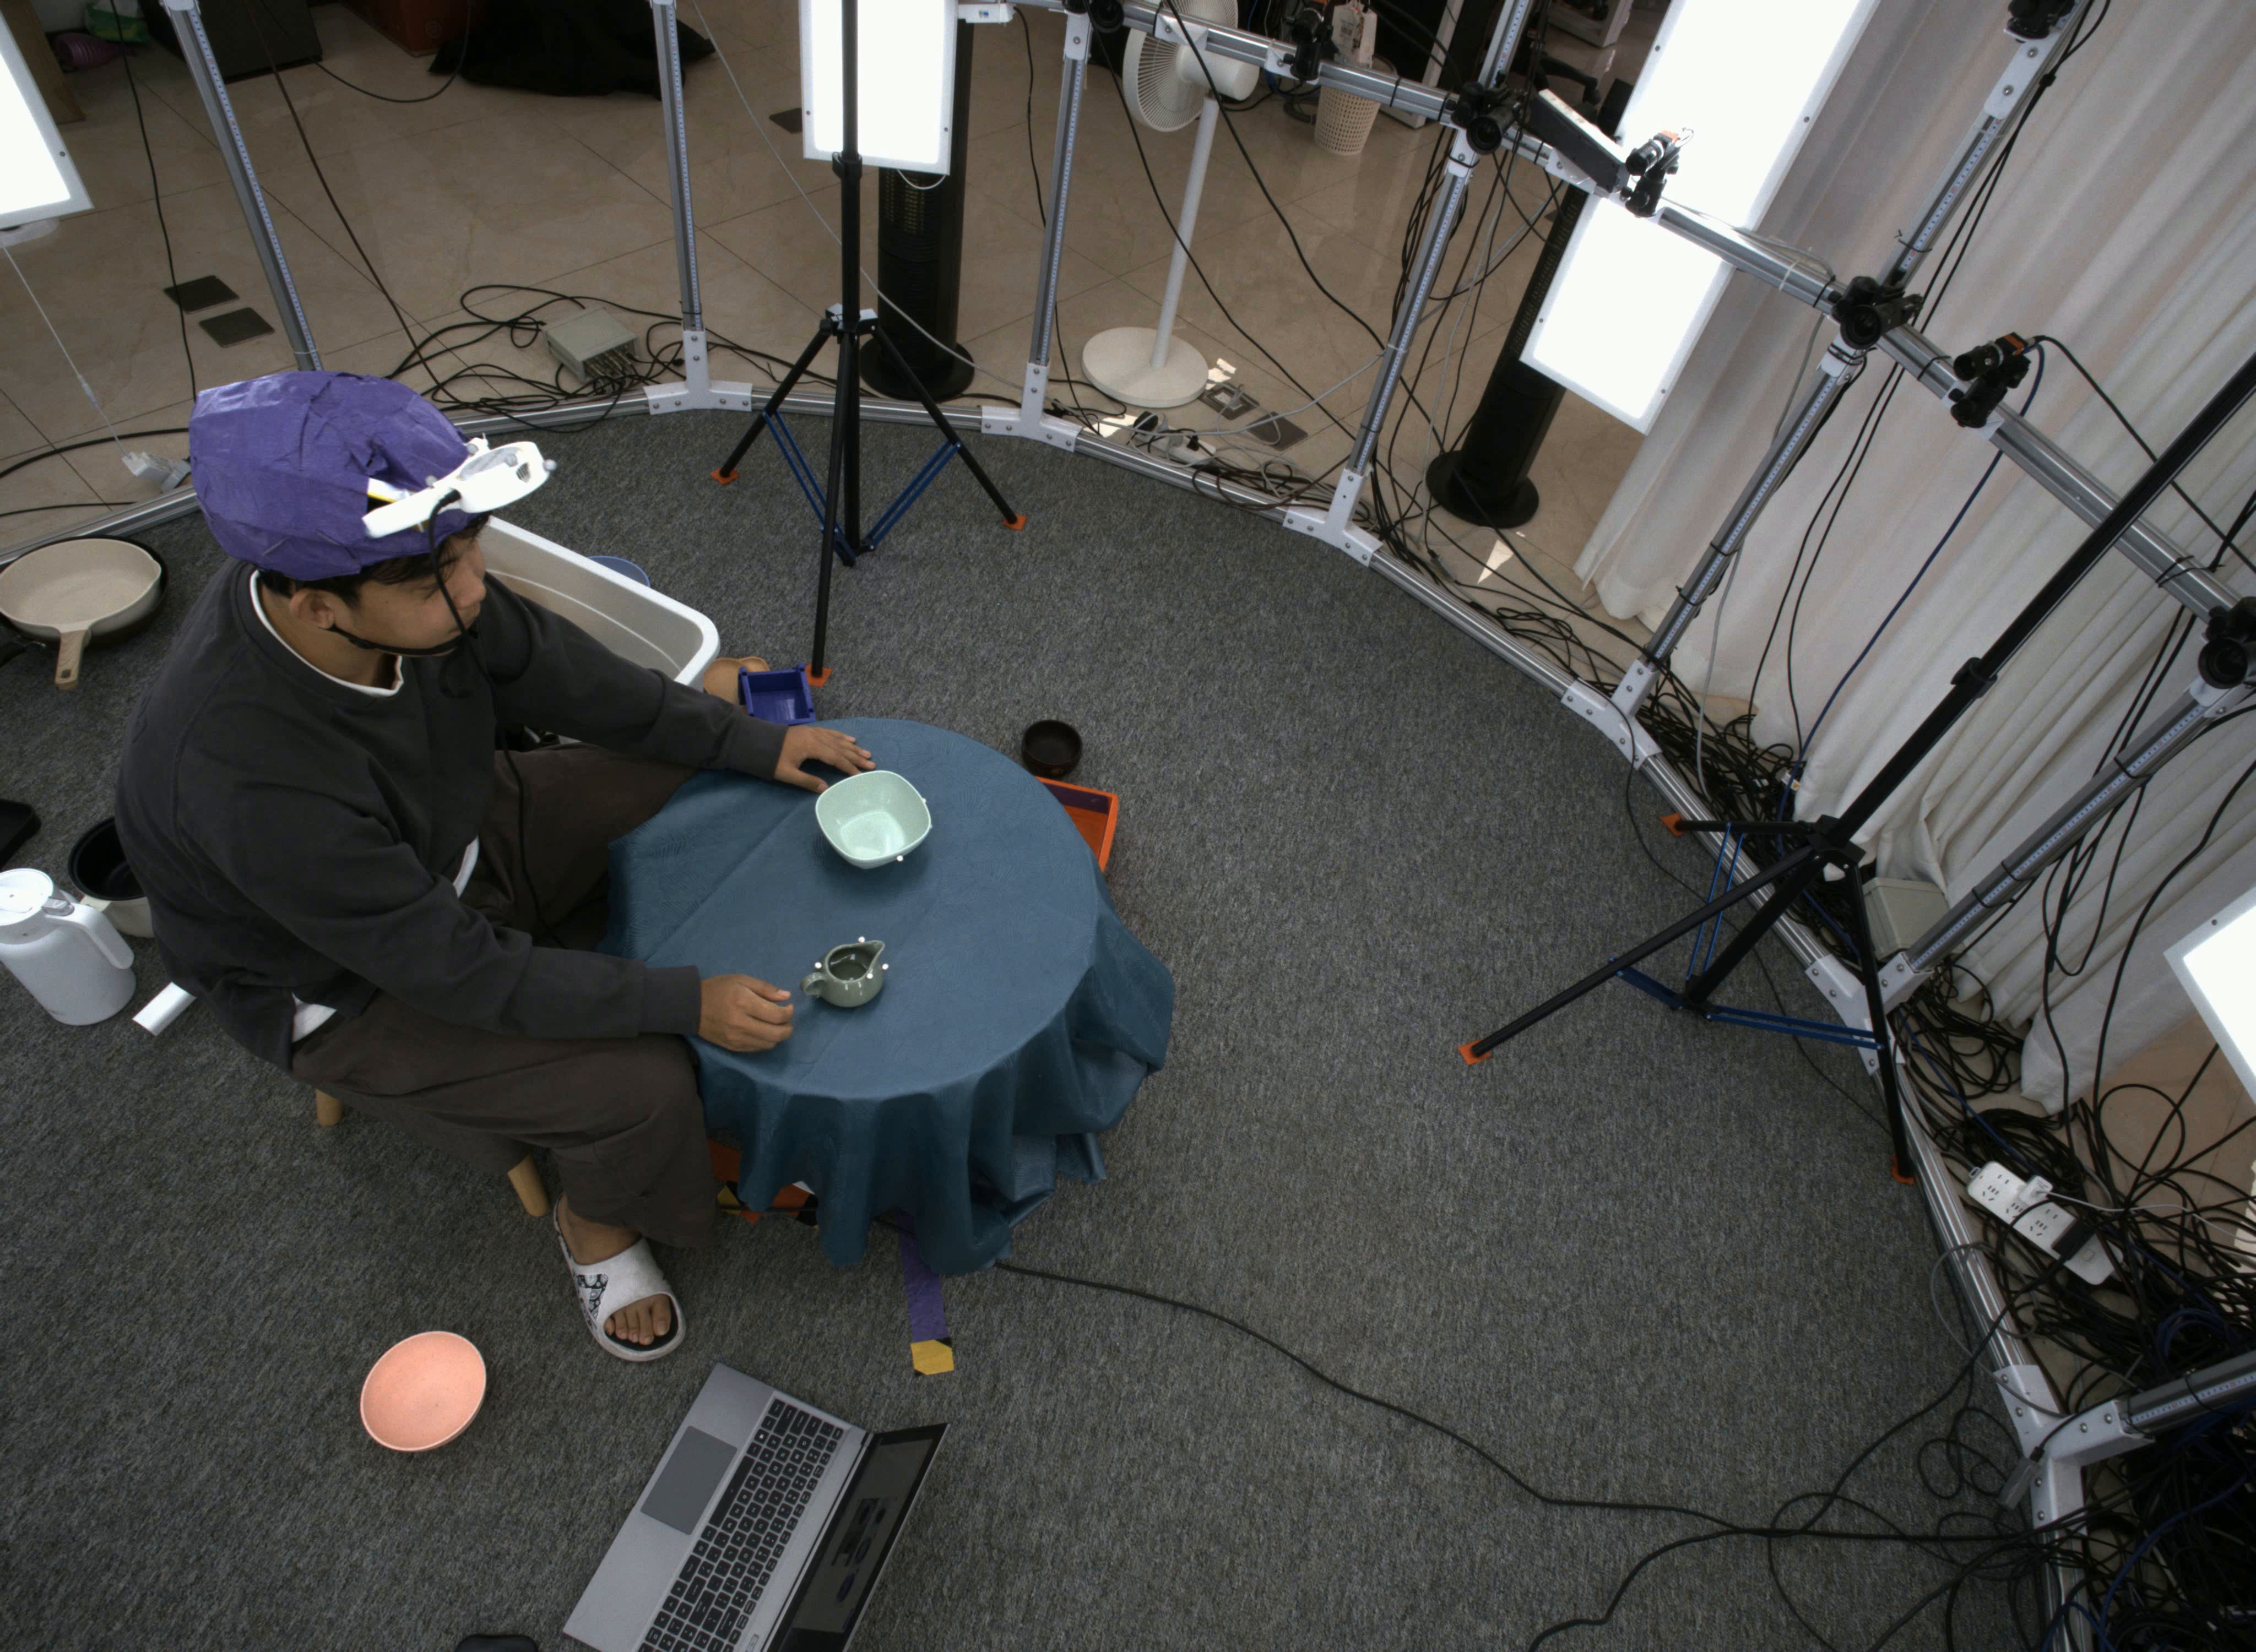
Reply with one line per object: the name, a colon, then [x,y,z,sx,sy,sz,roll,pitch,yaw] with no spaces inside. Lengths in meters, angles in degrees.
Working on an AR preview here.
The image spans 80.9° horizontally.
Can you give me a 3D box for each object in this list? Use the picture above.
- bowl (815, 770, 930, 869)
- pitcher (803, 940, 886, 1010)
bowl: [-0.336,0.001,1.706,0.151,0.060,0.149,9,52,-9]
pitcher: [-0.342,0.179,1.572,0.113,0.057,0.082,-29,64,-29]
